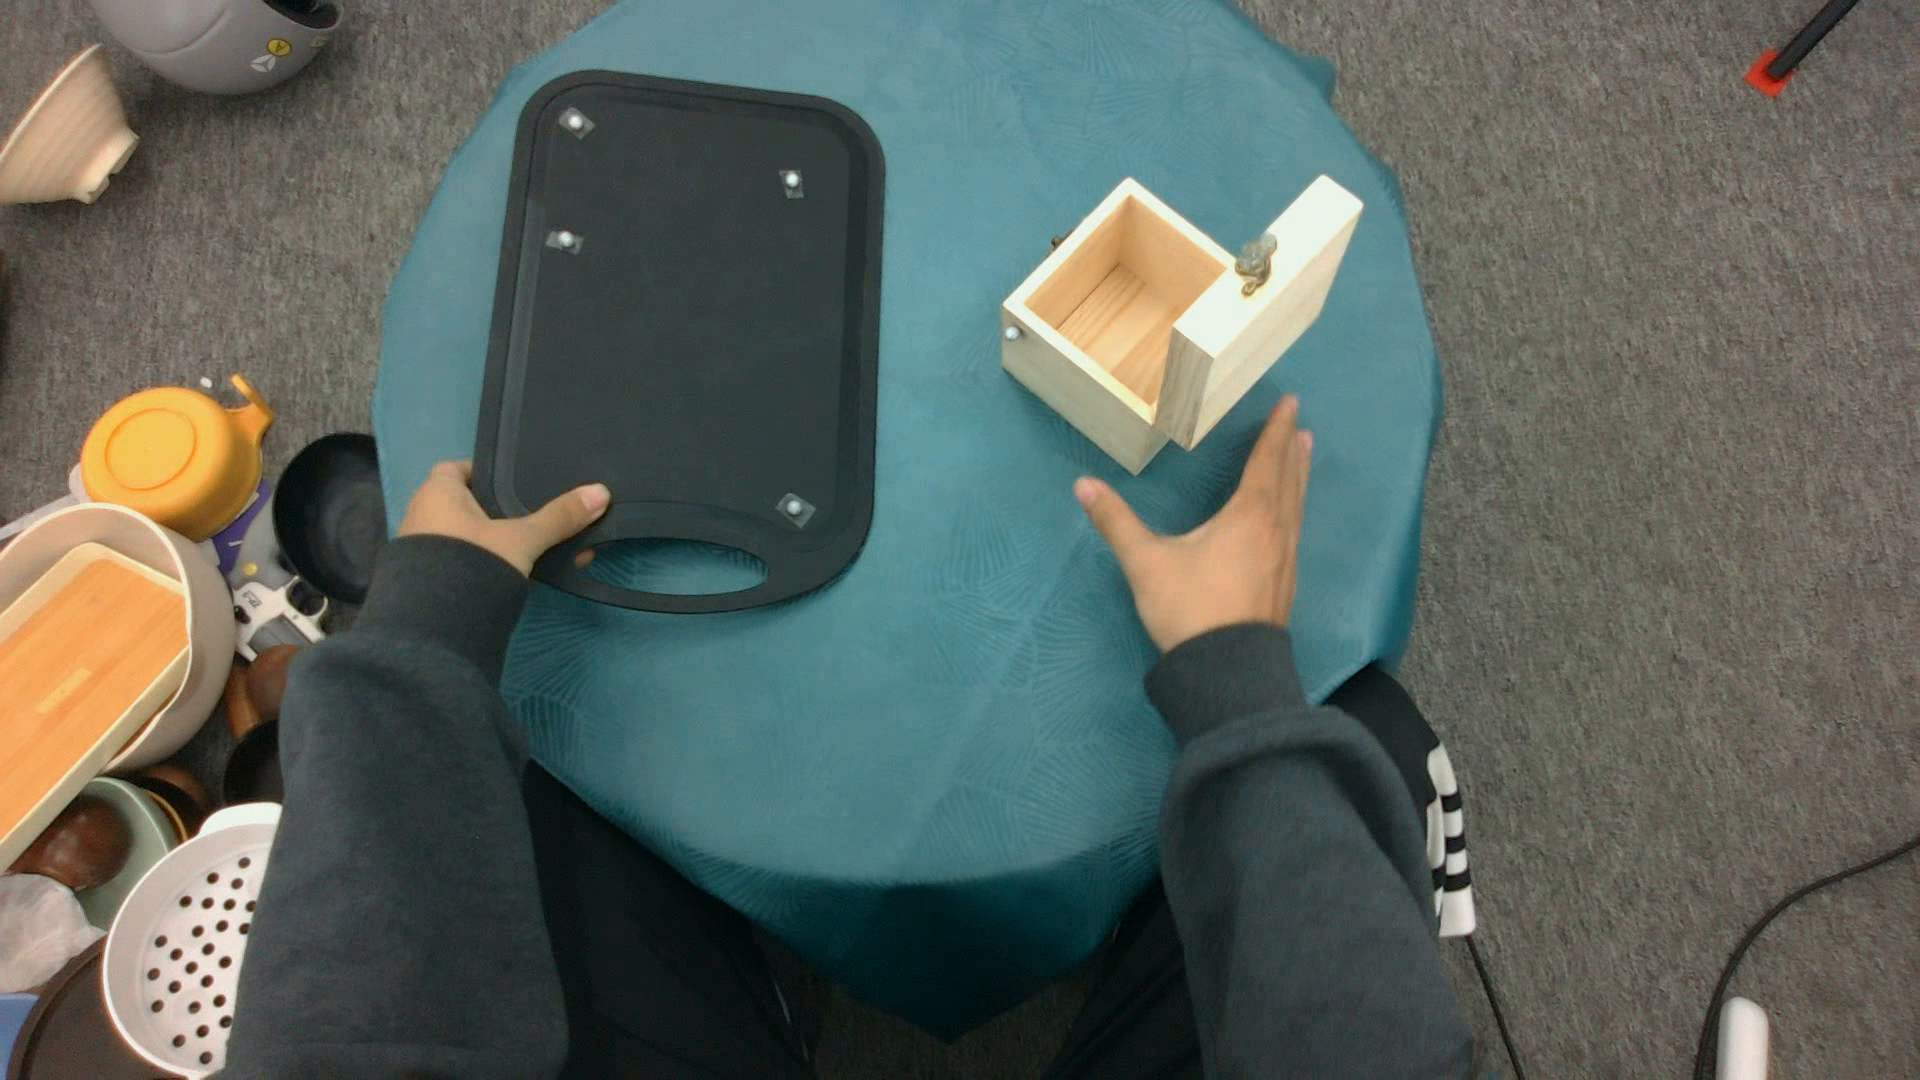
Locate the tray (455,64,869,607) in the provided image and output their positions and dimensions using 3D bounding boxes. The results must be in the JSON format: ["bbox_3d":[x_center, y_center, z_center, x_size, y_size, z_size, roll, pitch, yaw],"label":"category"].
[{"bbox_3d":[-0.158,-0.121,0.764,0.211,0.010,0.326,4,71,-10],"label":"tray"}]

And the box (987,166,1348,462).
[{"bbox_3d":[0.092,-0.130,0.693,0.134,0.184,0.103,40,77,11],"label":"box"}]
